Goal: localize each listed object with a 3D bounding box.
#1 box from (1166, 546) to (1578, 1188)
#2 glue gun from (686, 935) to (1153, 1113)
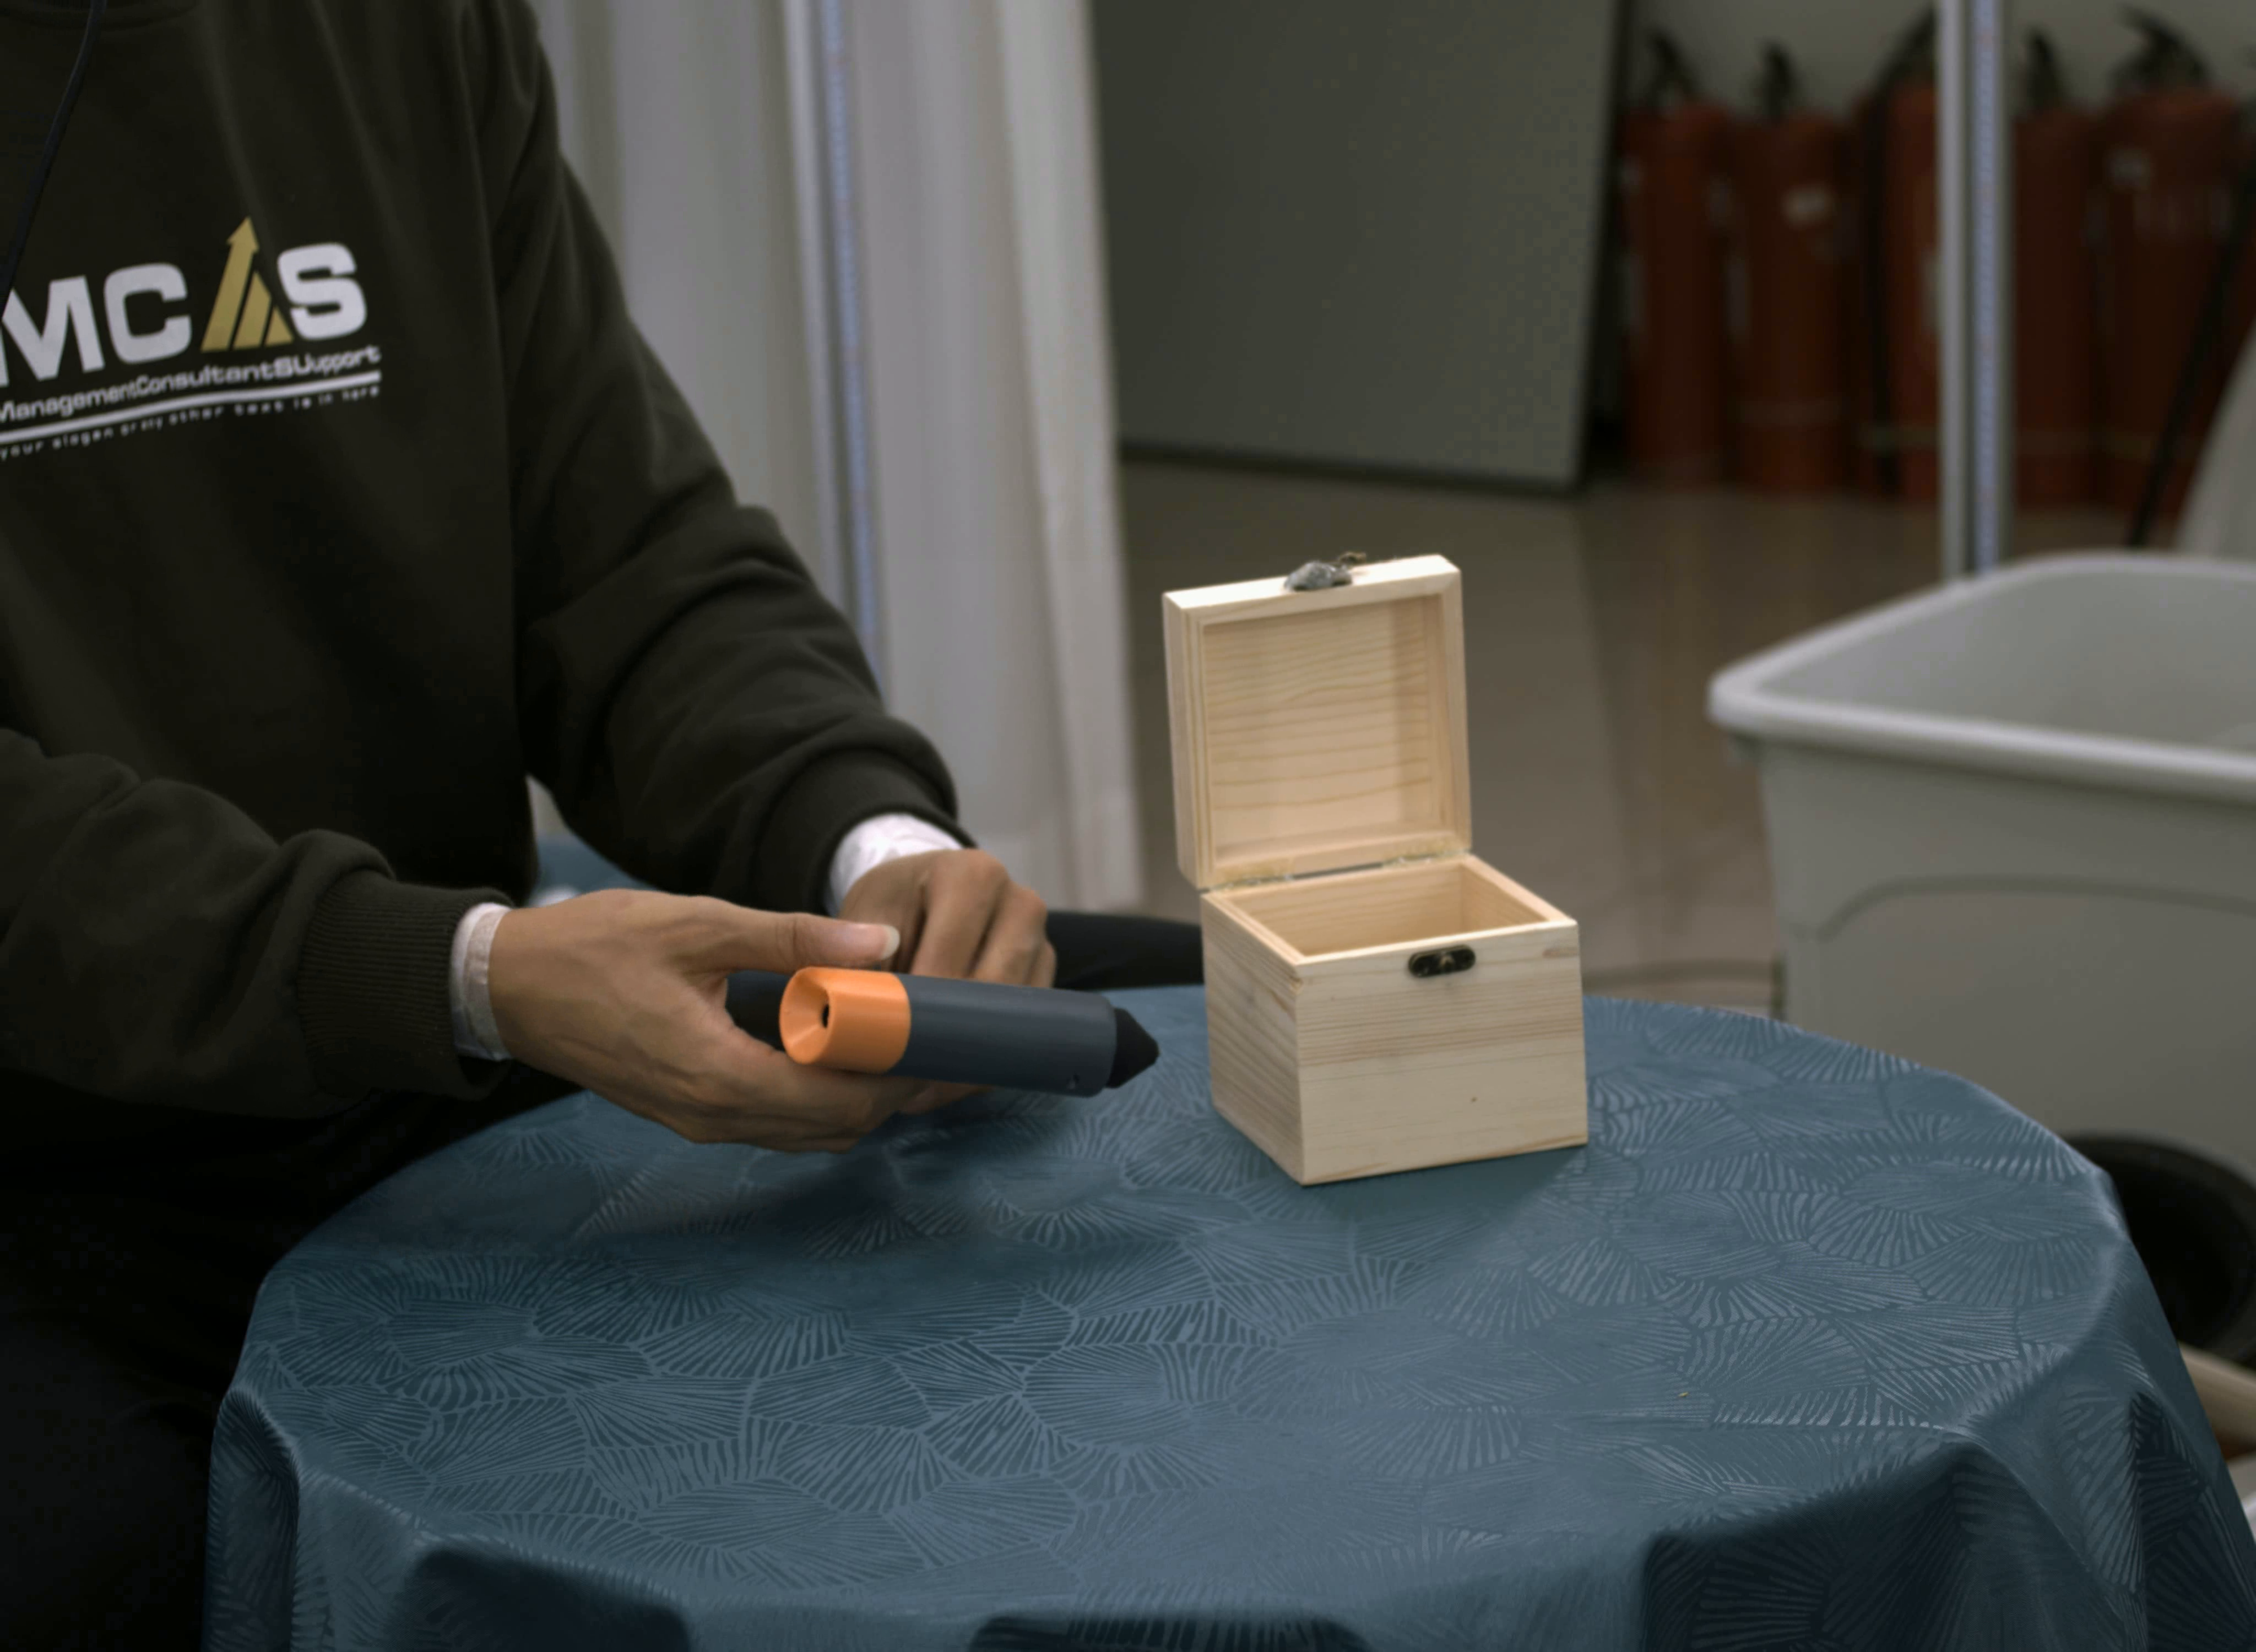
[{"bbox_3d":[0.082,0.010,1.812,0.100,0.186,0.135,-7,15,-17],"label":"box"},{"bbox_3d":[-0.072,0.066,1.767,0.115,0.041,0.141,14,-5,-36],"label":"glue gun"}]
